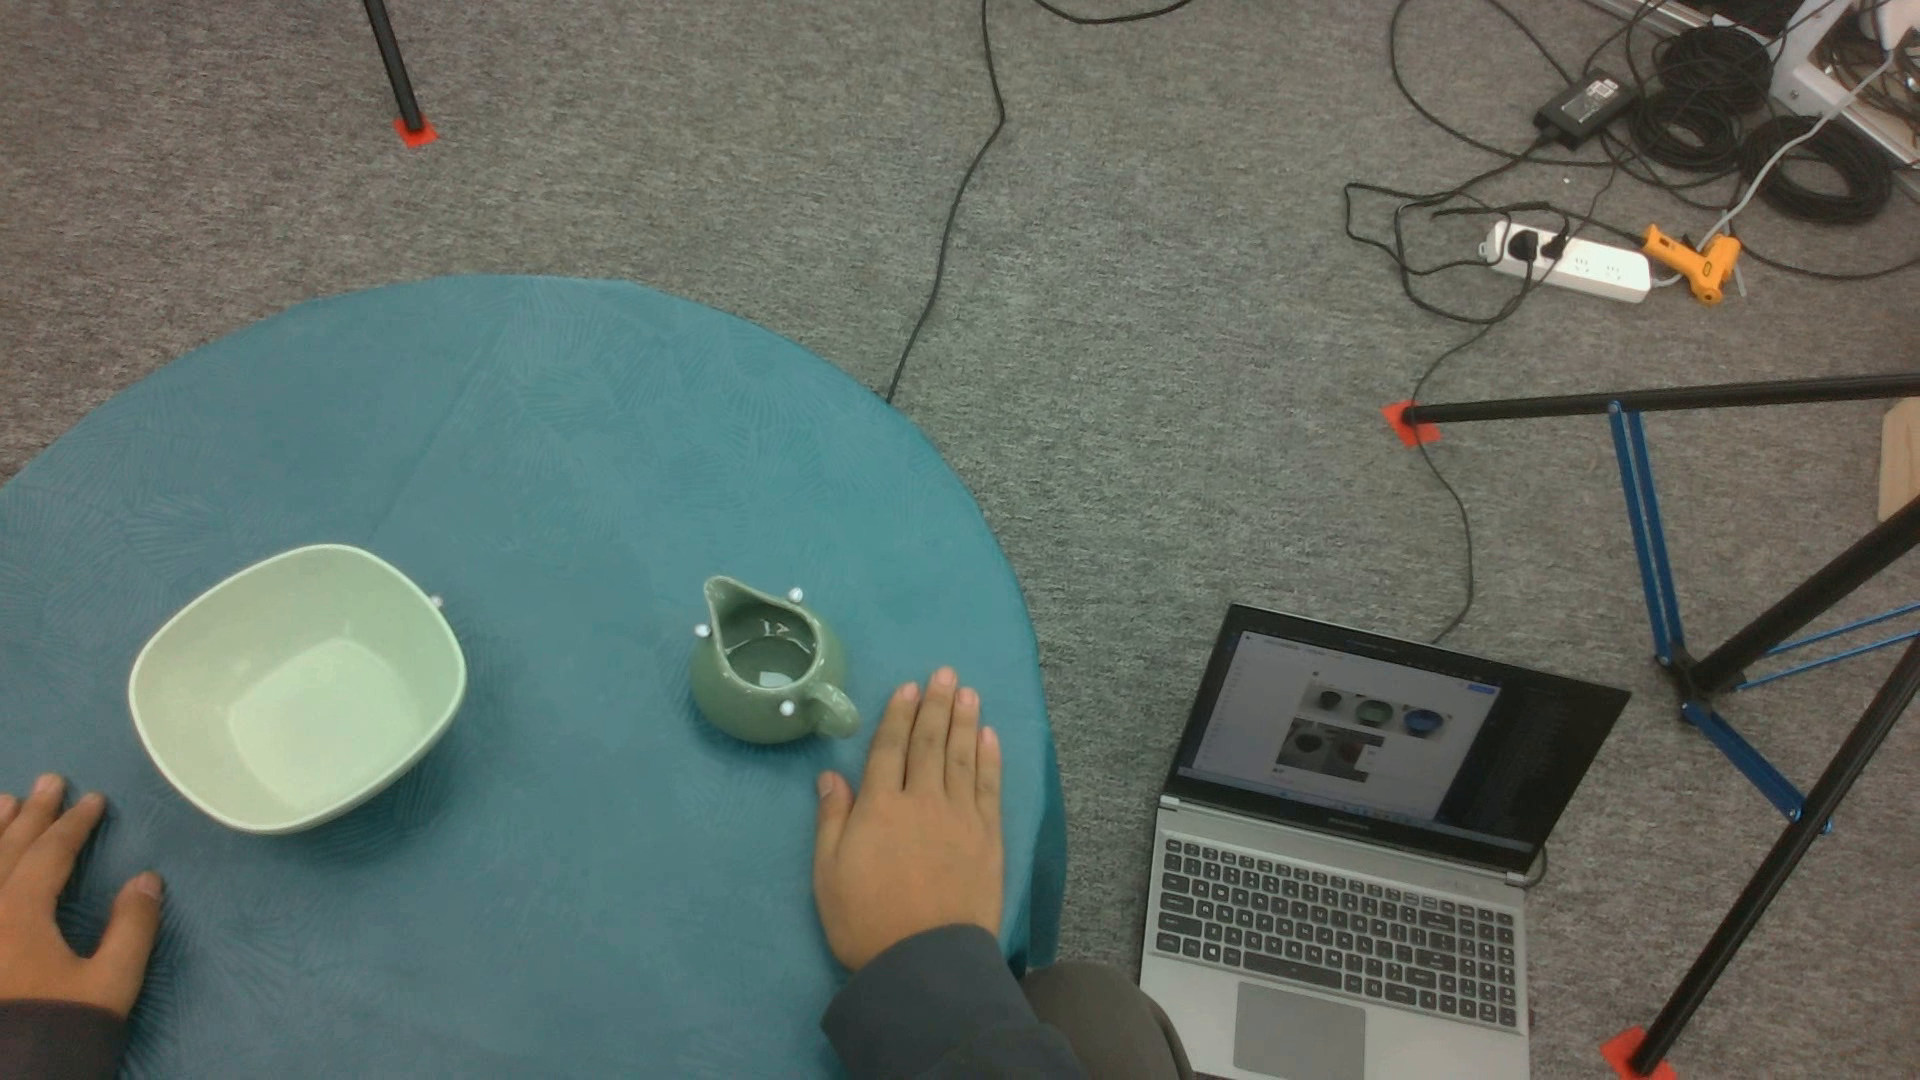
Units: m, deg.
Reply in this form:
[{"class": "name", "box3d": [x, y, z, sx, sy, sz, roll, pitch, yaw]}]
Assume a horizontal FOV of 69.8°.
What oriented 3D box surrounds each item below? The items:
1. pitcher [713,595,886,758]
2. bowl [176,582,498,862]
[{"class": "pitcher", "box3d": [-0.087, 0.078, 0.746, 0.112, 0.056, 0.084, 37, 61, 15]}, {"class": "bowl", "box3d": [-0.309, 0.100, 0.703, 0.151, 0.058, 0.152, 3, 56, -4]}]
